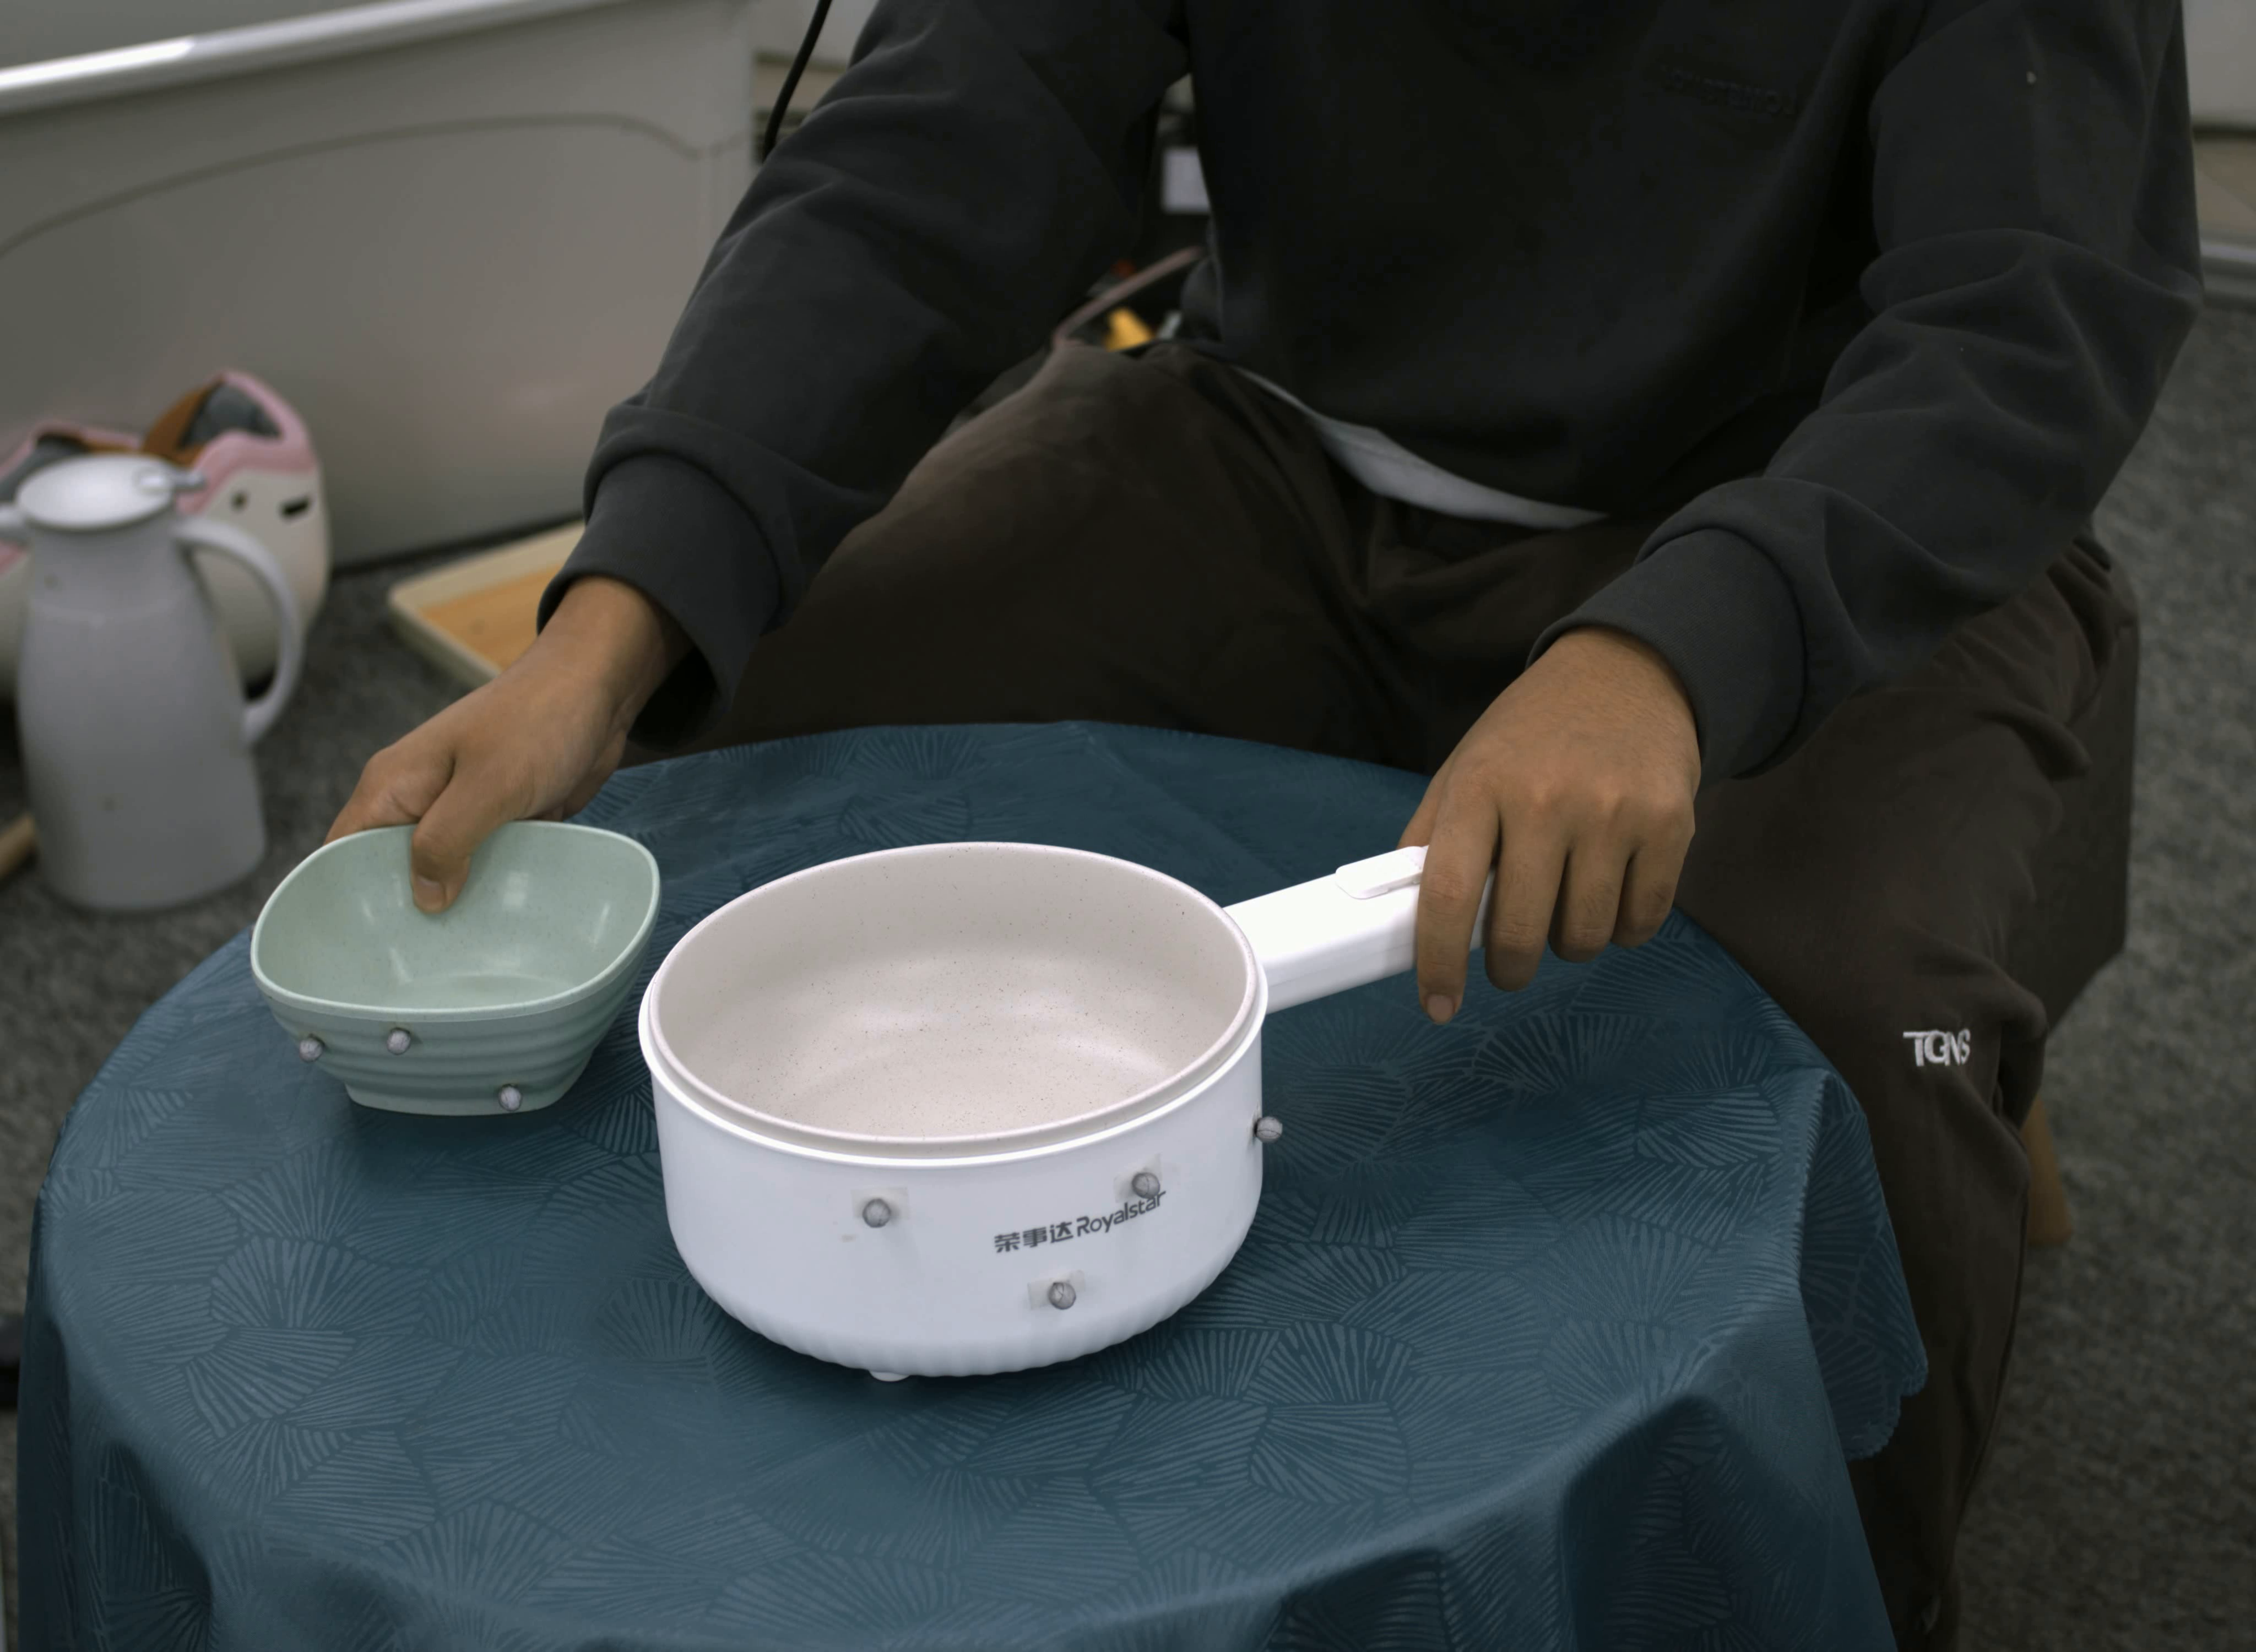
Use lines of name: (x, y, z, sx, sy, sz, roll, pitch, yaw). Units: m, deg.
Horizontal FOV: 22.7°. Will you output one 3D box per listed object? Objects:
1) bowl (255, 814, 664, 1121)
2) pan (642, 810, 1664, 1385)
bowl: (-0.229, 0.055, 1.952, 0.151, 0.058, 0.154, -2, 29, 2)
pan: (0.014, 0.081, 1.846, 0.356, 0.101, 0.202, -14, 28, -24)
